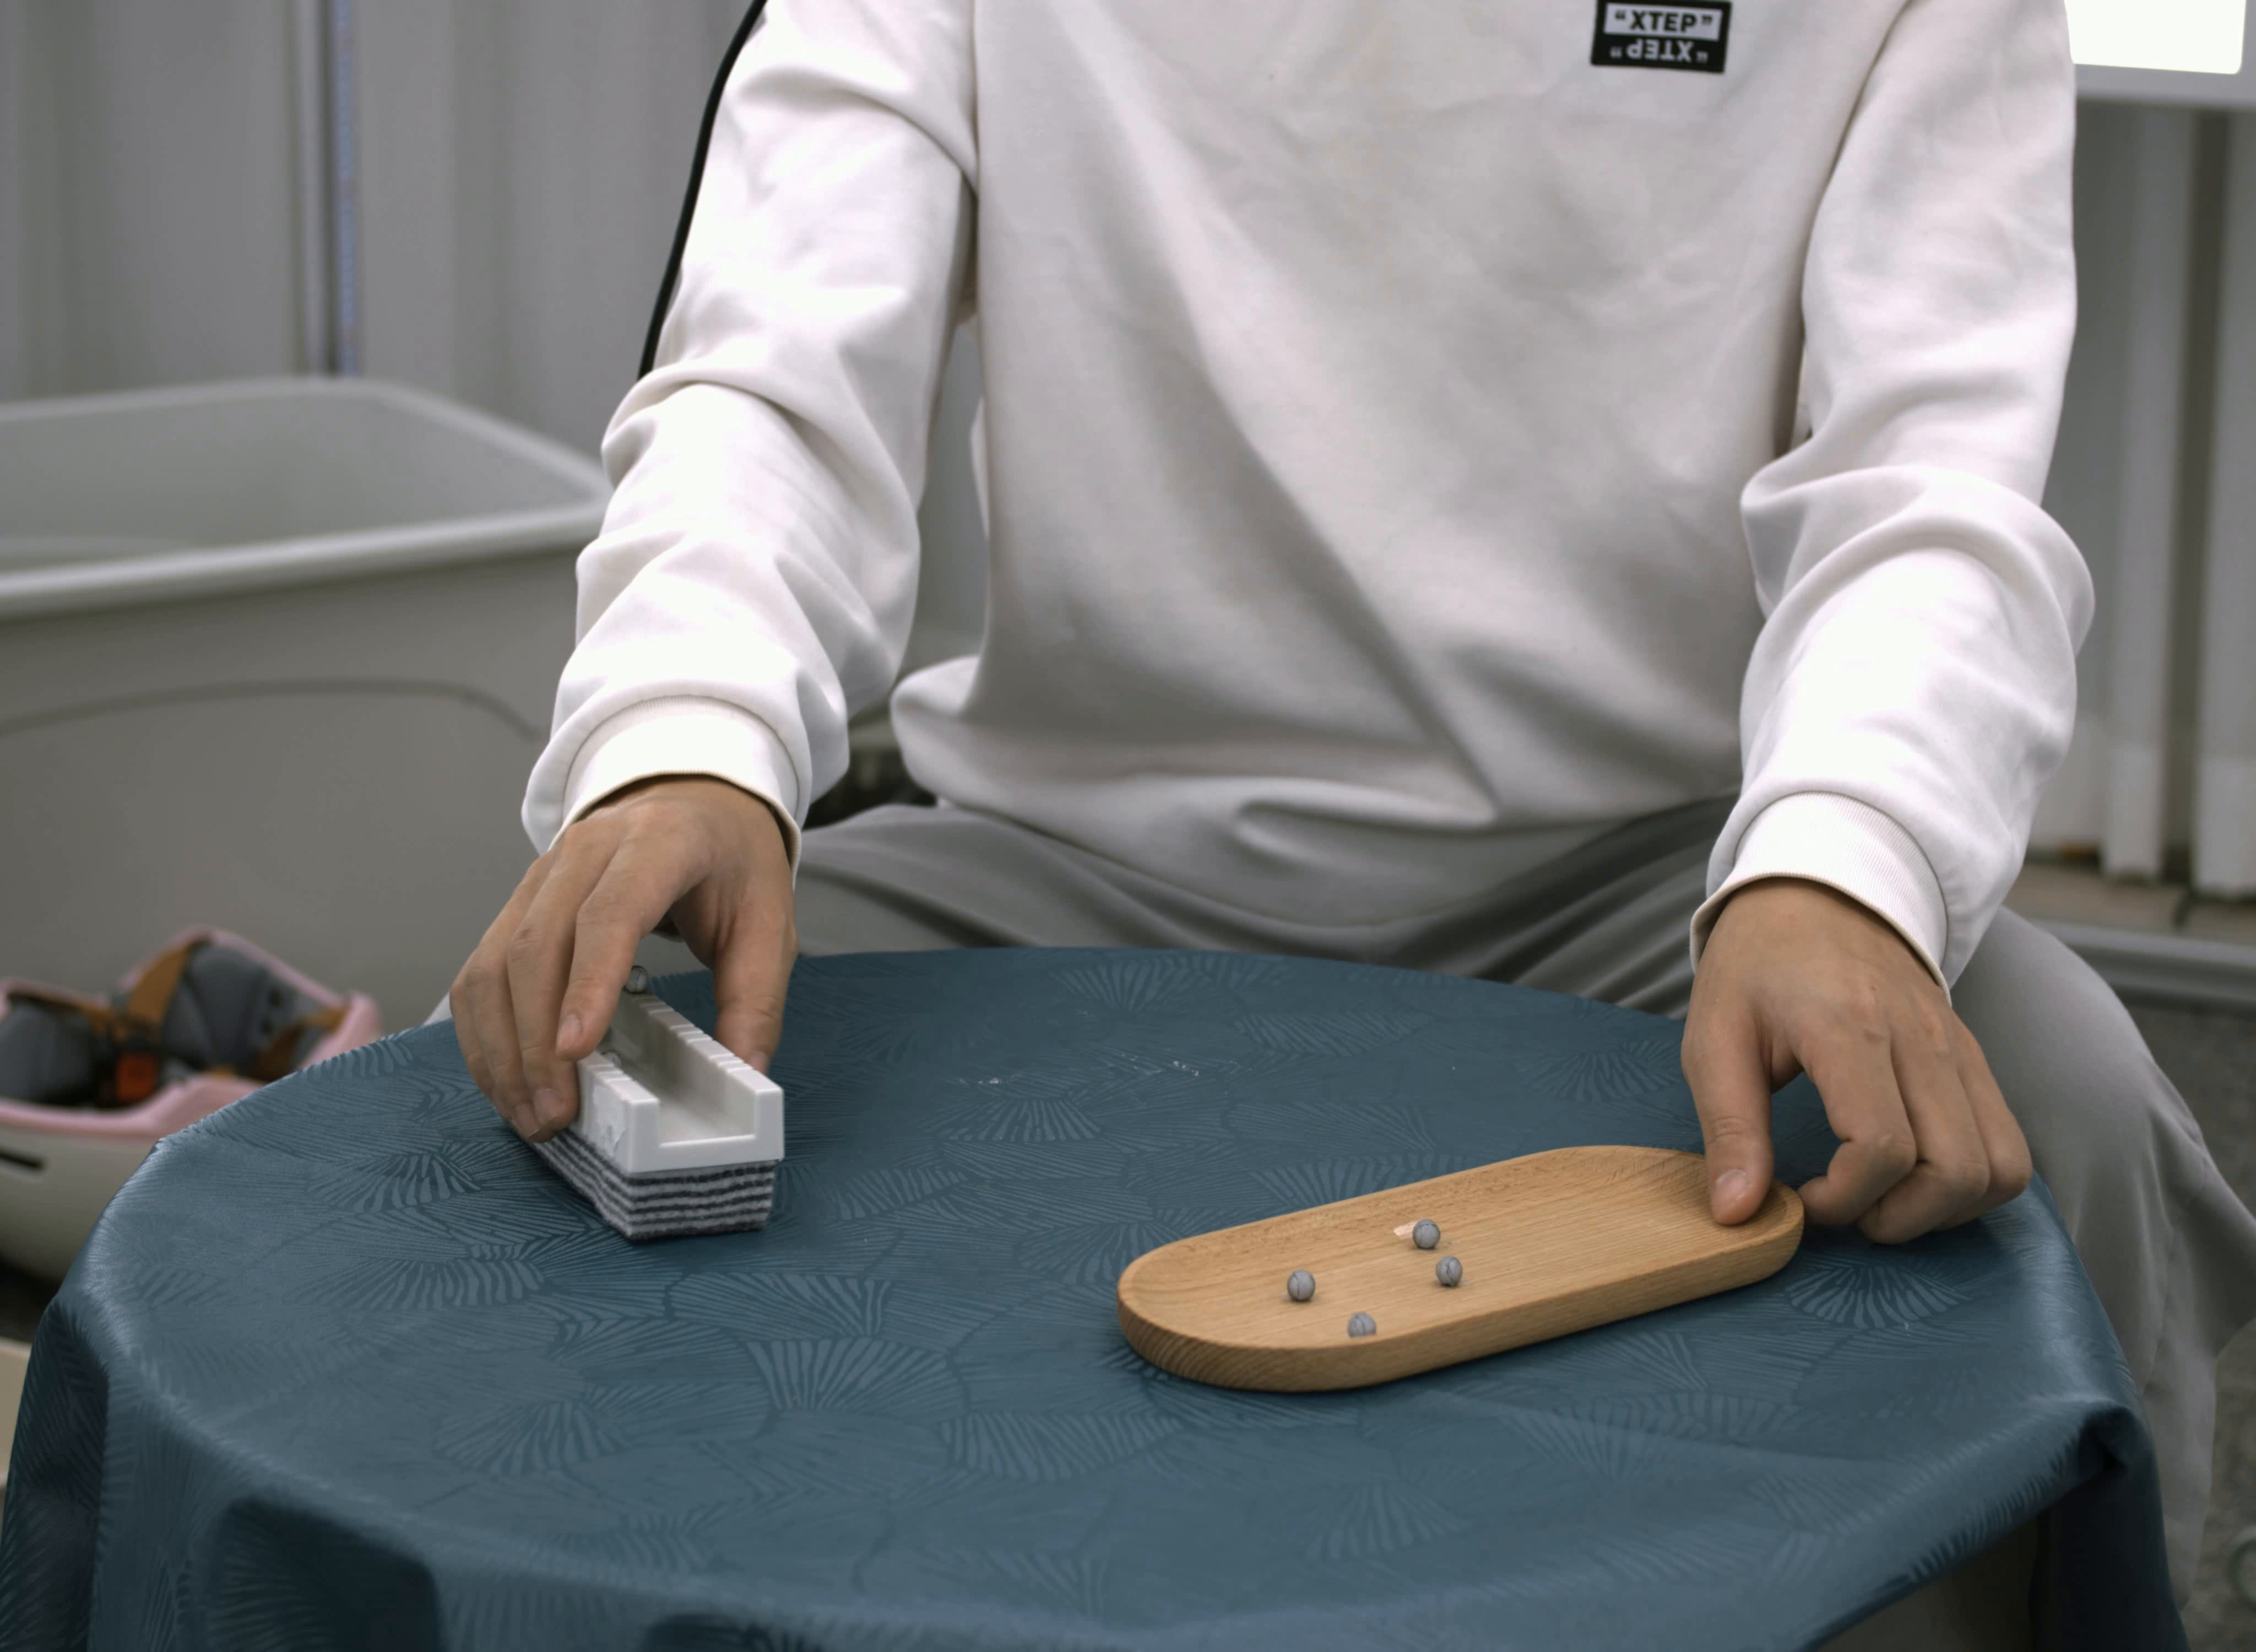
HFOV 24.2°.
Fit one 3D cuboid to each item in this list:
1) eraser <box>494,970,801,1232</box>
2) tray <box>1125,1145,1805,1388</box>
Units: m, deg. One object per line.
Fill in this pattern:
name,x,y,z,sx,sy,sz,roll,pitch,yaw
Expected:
eraser,-0.151,0.084,1.631,0.050,0.047,0.132,0,15,-28
tray,0.101,0.128,1.548,0.232,0.020,0.100,-9,19,-37
